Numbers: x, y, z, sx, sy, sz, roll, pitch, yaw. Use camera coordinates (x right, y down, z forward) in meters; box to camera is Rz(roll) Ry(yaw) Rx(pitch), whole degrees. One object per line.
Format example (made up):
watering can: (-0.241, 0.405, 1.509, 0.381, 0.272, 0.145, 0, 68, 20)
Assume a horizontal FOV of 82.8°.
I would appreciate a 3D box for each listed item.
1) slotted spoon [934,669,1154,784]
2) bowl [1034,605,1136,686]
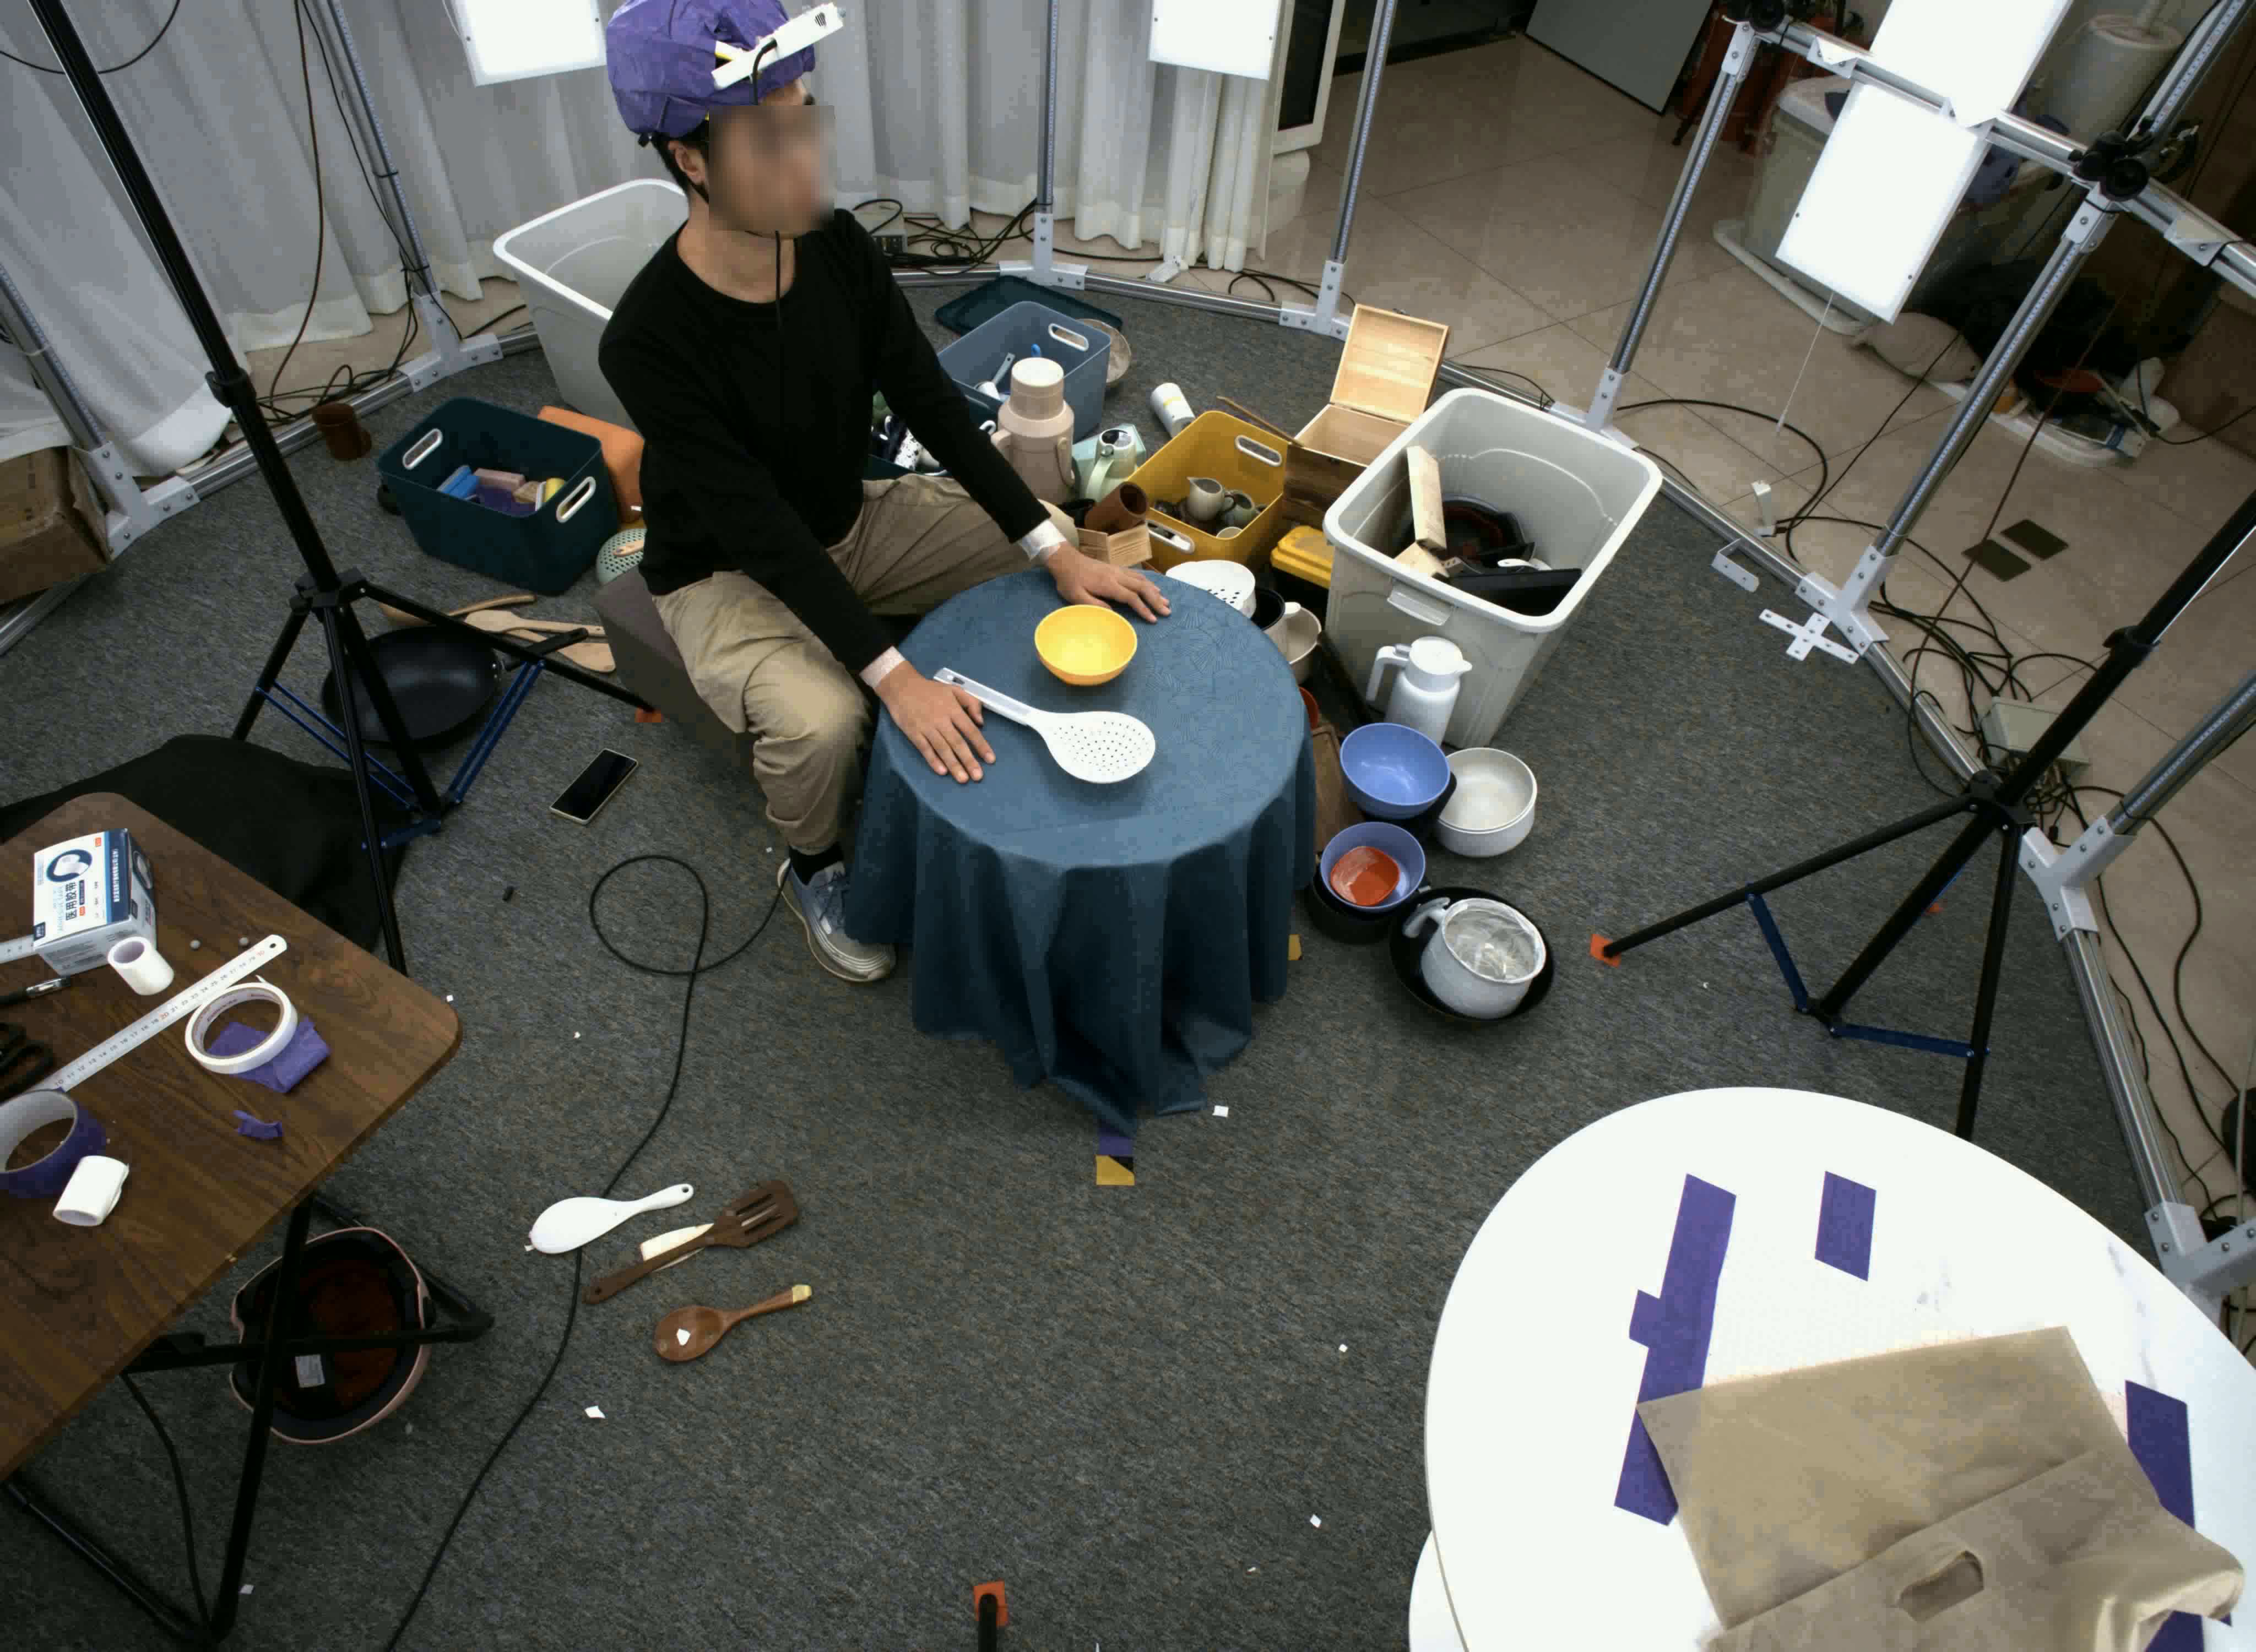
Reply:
slotted spoon: (-0.124, -0.144, 1.757, 0.353, 0.044, 0.138, 28, 52, 20)
bowl: (-0.063, -0.247, 1.844, 0.145, 0.059, 0.149, 3, 49, -4)
